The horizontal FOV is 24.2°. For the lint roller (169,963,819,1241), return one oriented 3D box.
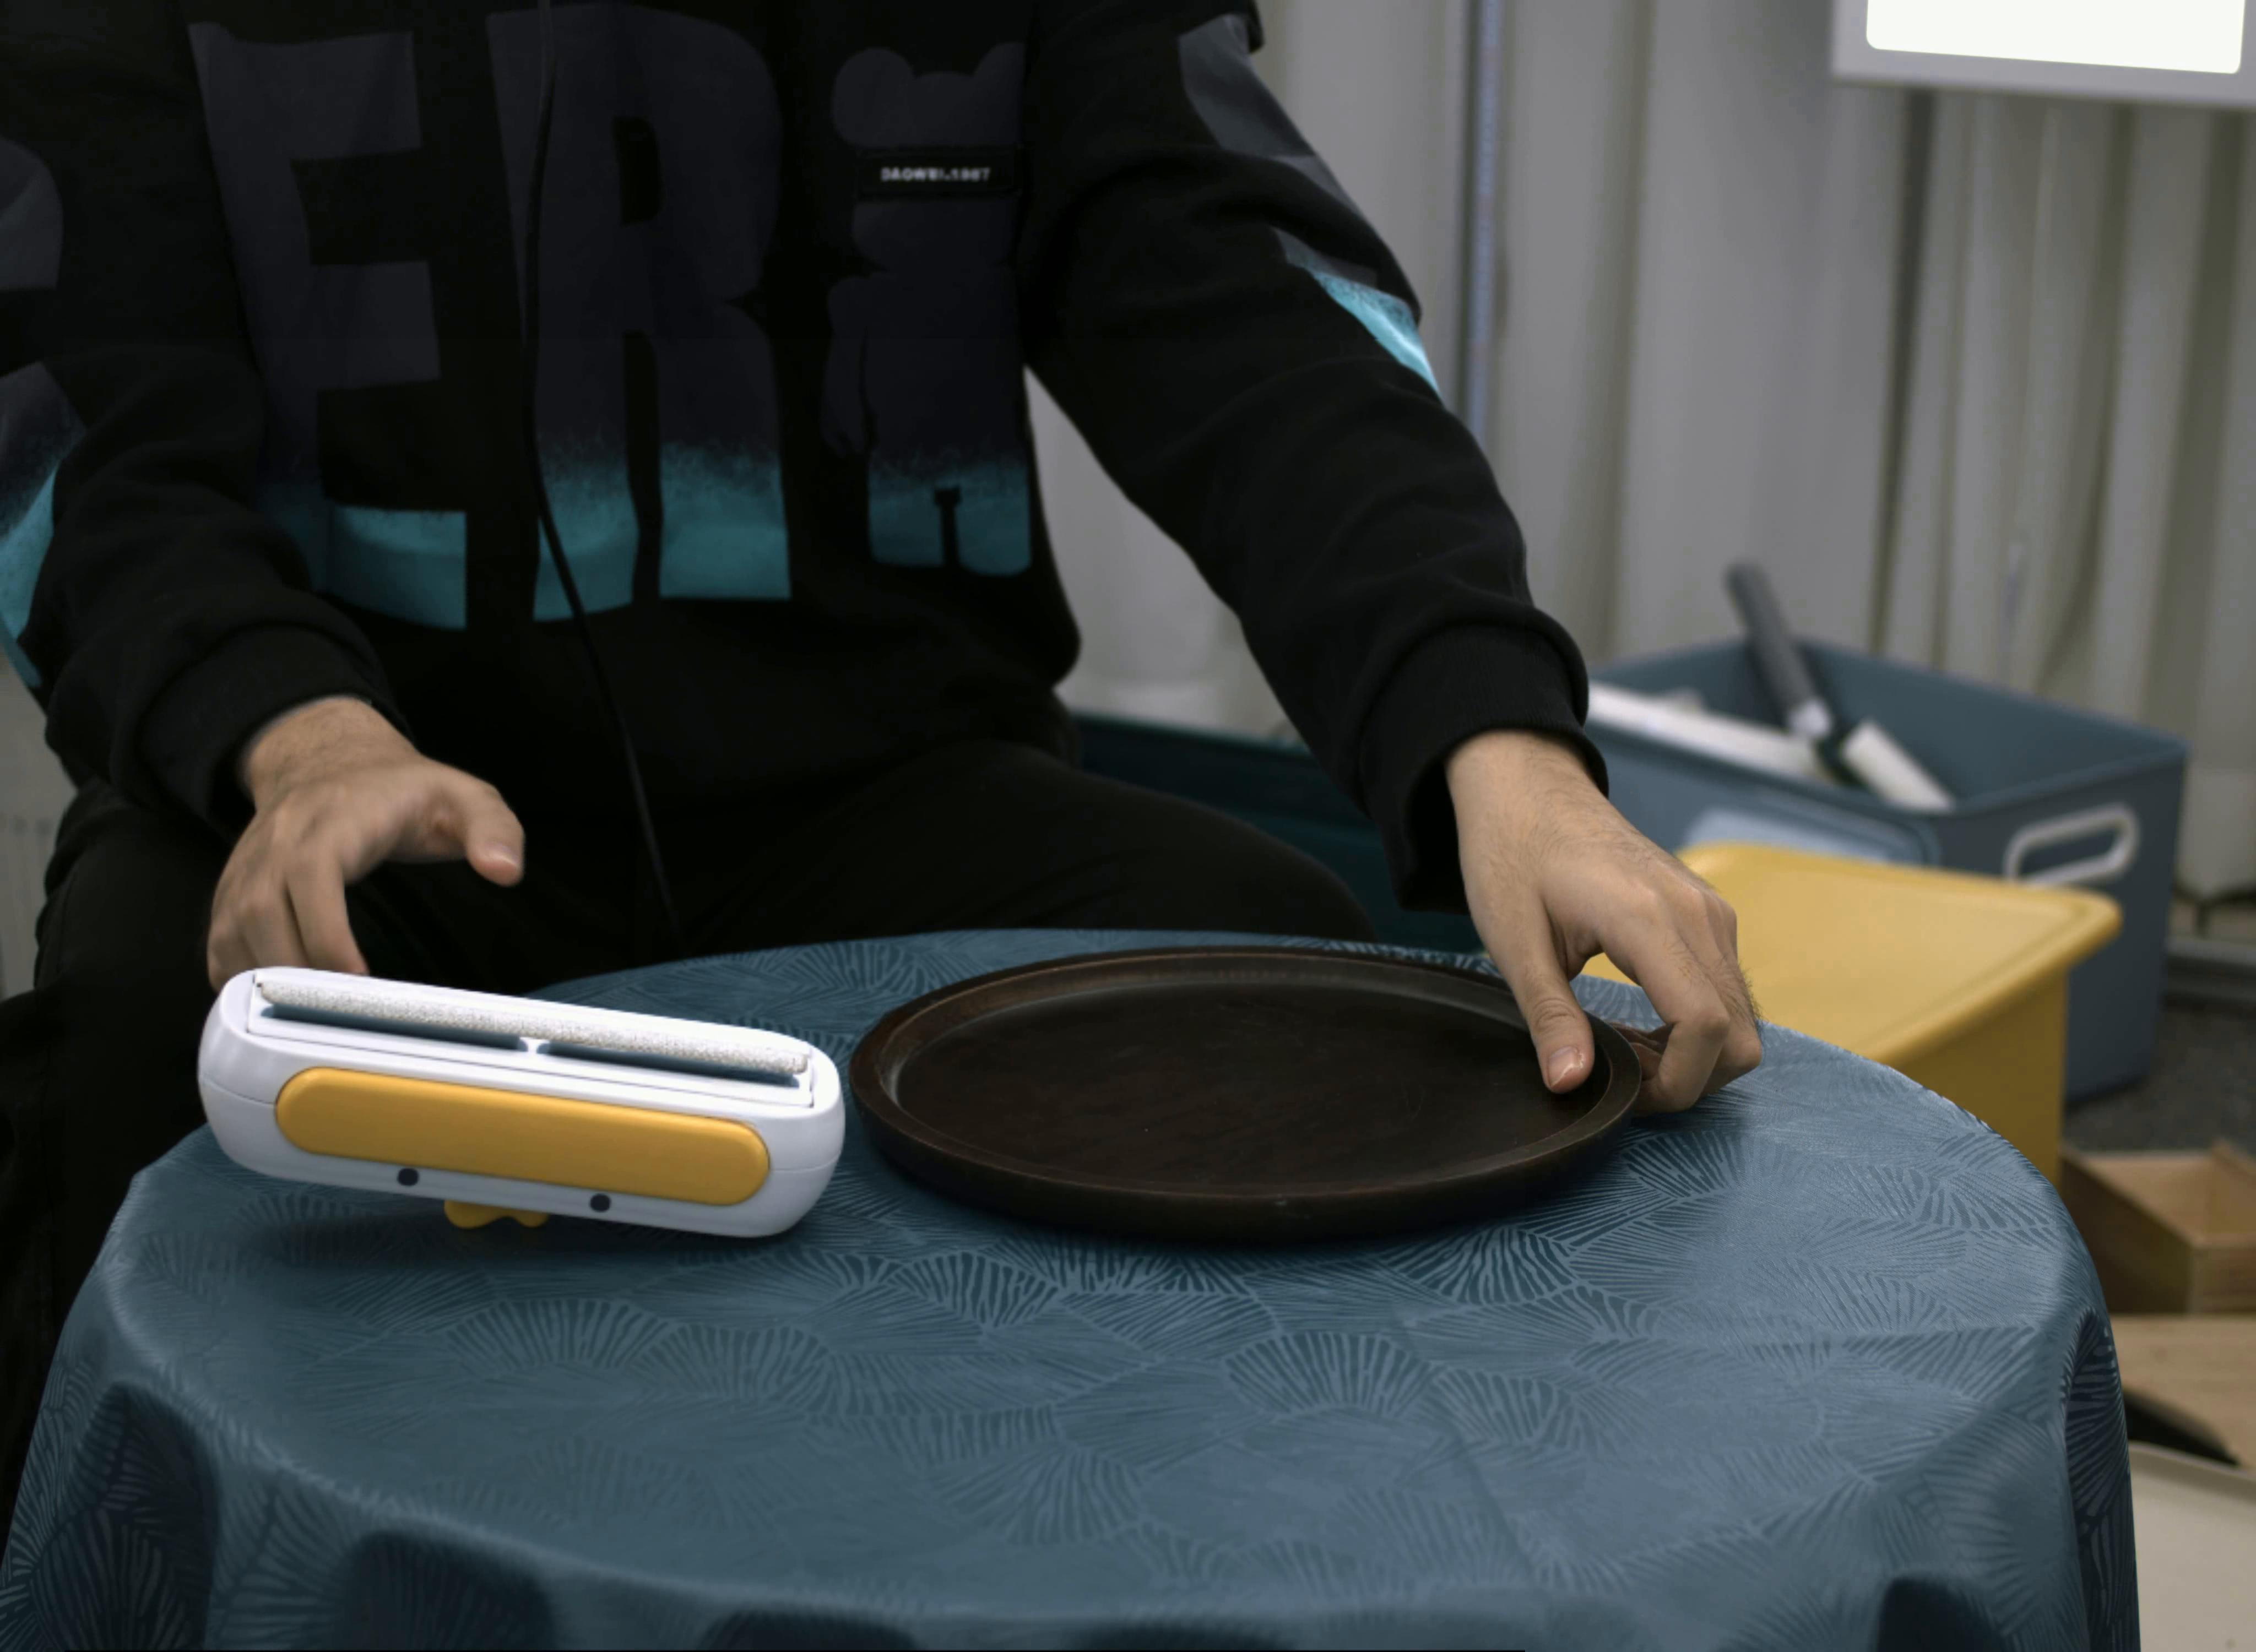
[{"bbox_3d":[-0.192,0.074,1.624,0.192,0.075,0.191,5,14,-5],"label":"lint roller"}]

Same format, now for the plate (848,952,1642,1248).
[{"bbox_3d":[0.037,0.085,1.677,0.254,0.029,0.253,0,14,0],"label":"plate"}]
